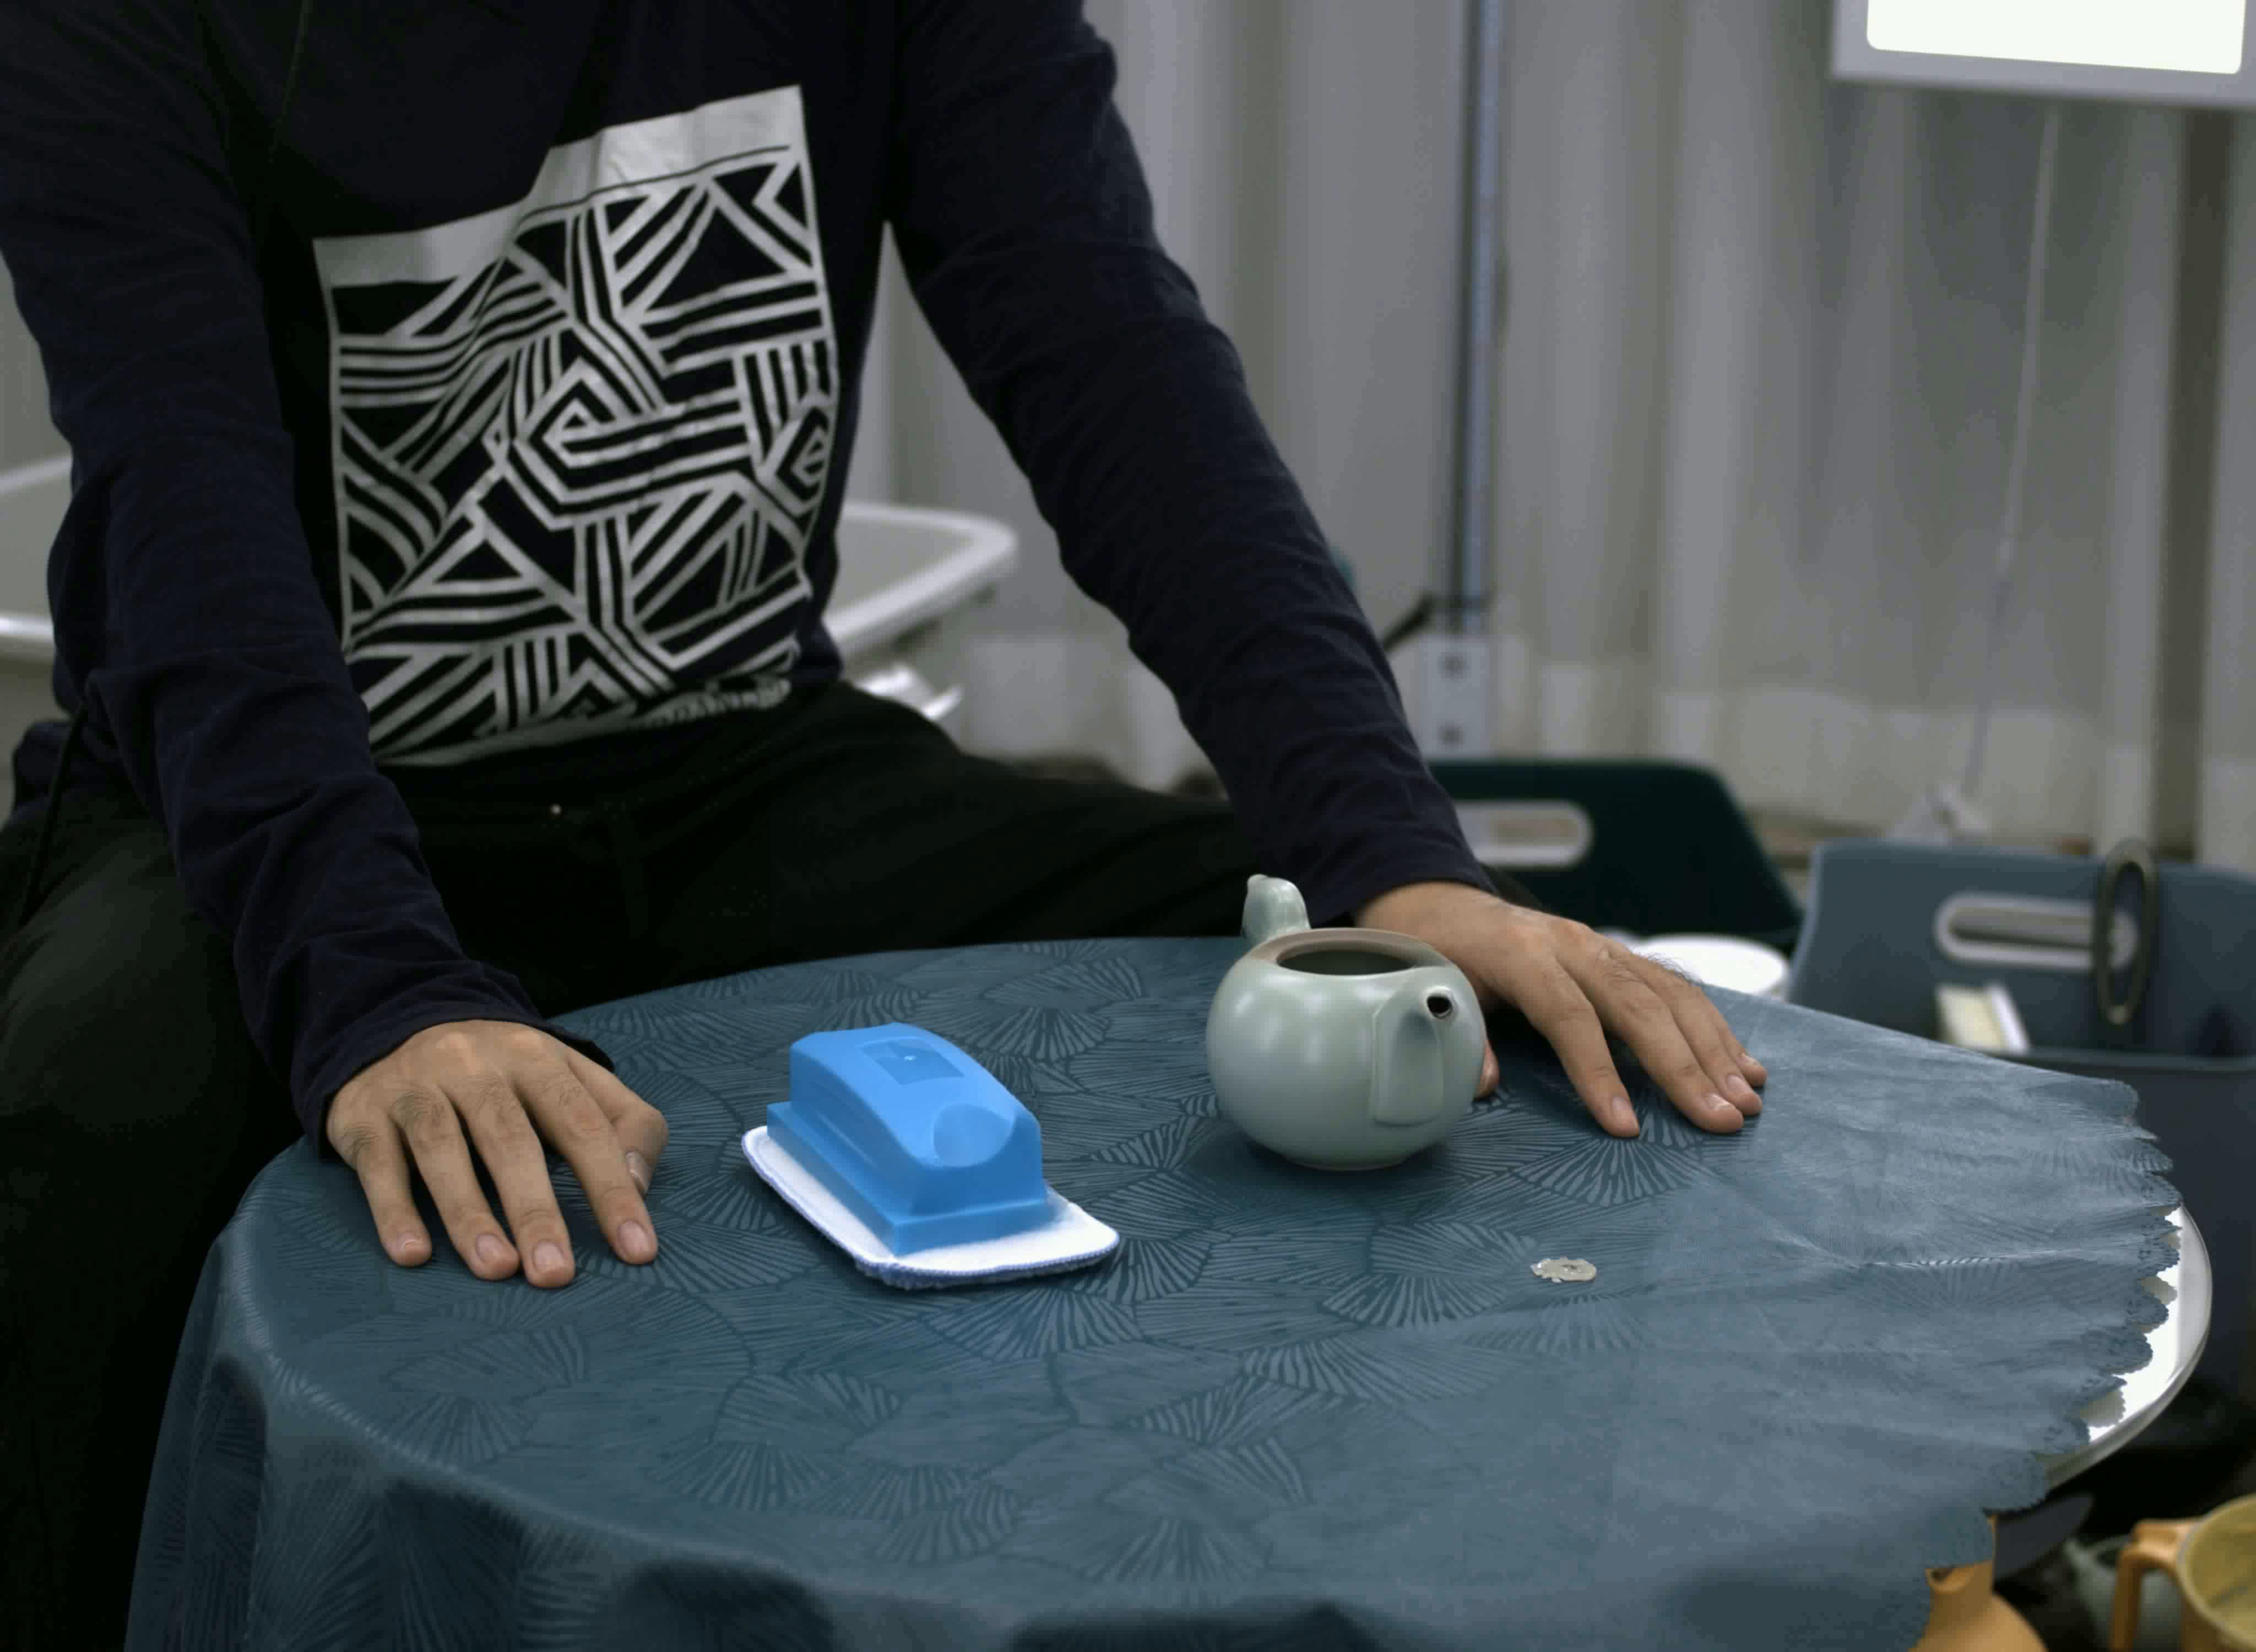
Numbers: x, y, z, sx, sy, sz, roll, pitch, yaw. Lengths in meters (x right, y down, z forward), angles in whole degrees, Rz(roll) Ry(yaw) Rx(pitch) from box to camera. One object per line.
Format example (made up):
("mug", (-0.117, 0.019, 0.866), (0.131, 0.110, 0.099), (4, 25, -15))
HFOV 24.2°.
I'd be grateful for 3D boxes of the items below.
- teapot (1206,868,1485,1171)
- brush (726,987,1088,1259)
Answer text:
("teapot", (0.068, 0.067, 1.655), (0.088, 0.075, 0.142), (-5, 20, -20))
("brush", (-0.066, 0.087, 1.598), (0.084, 0.056, 0.142), (-2, 18, -21))
